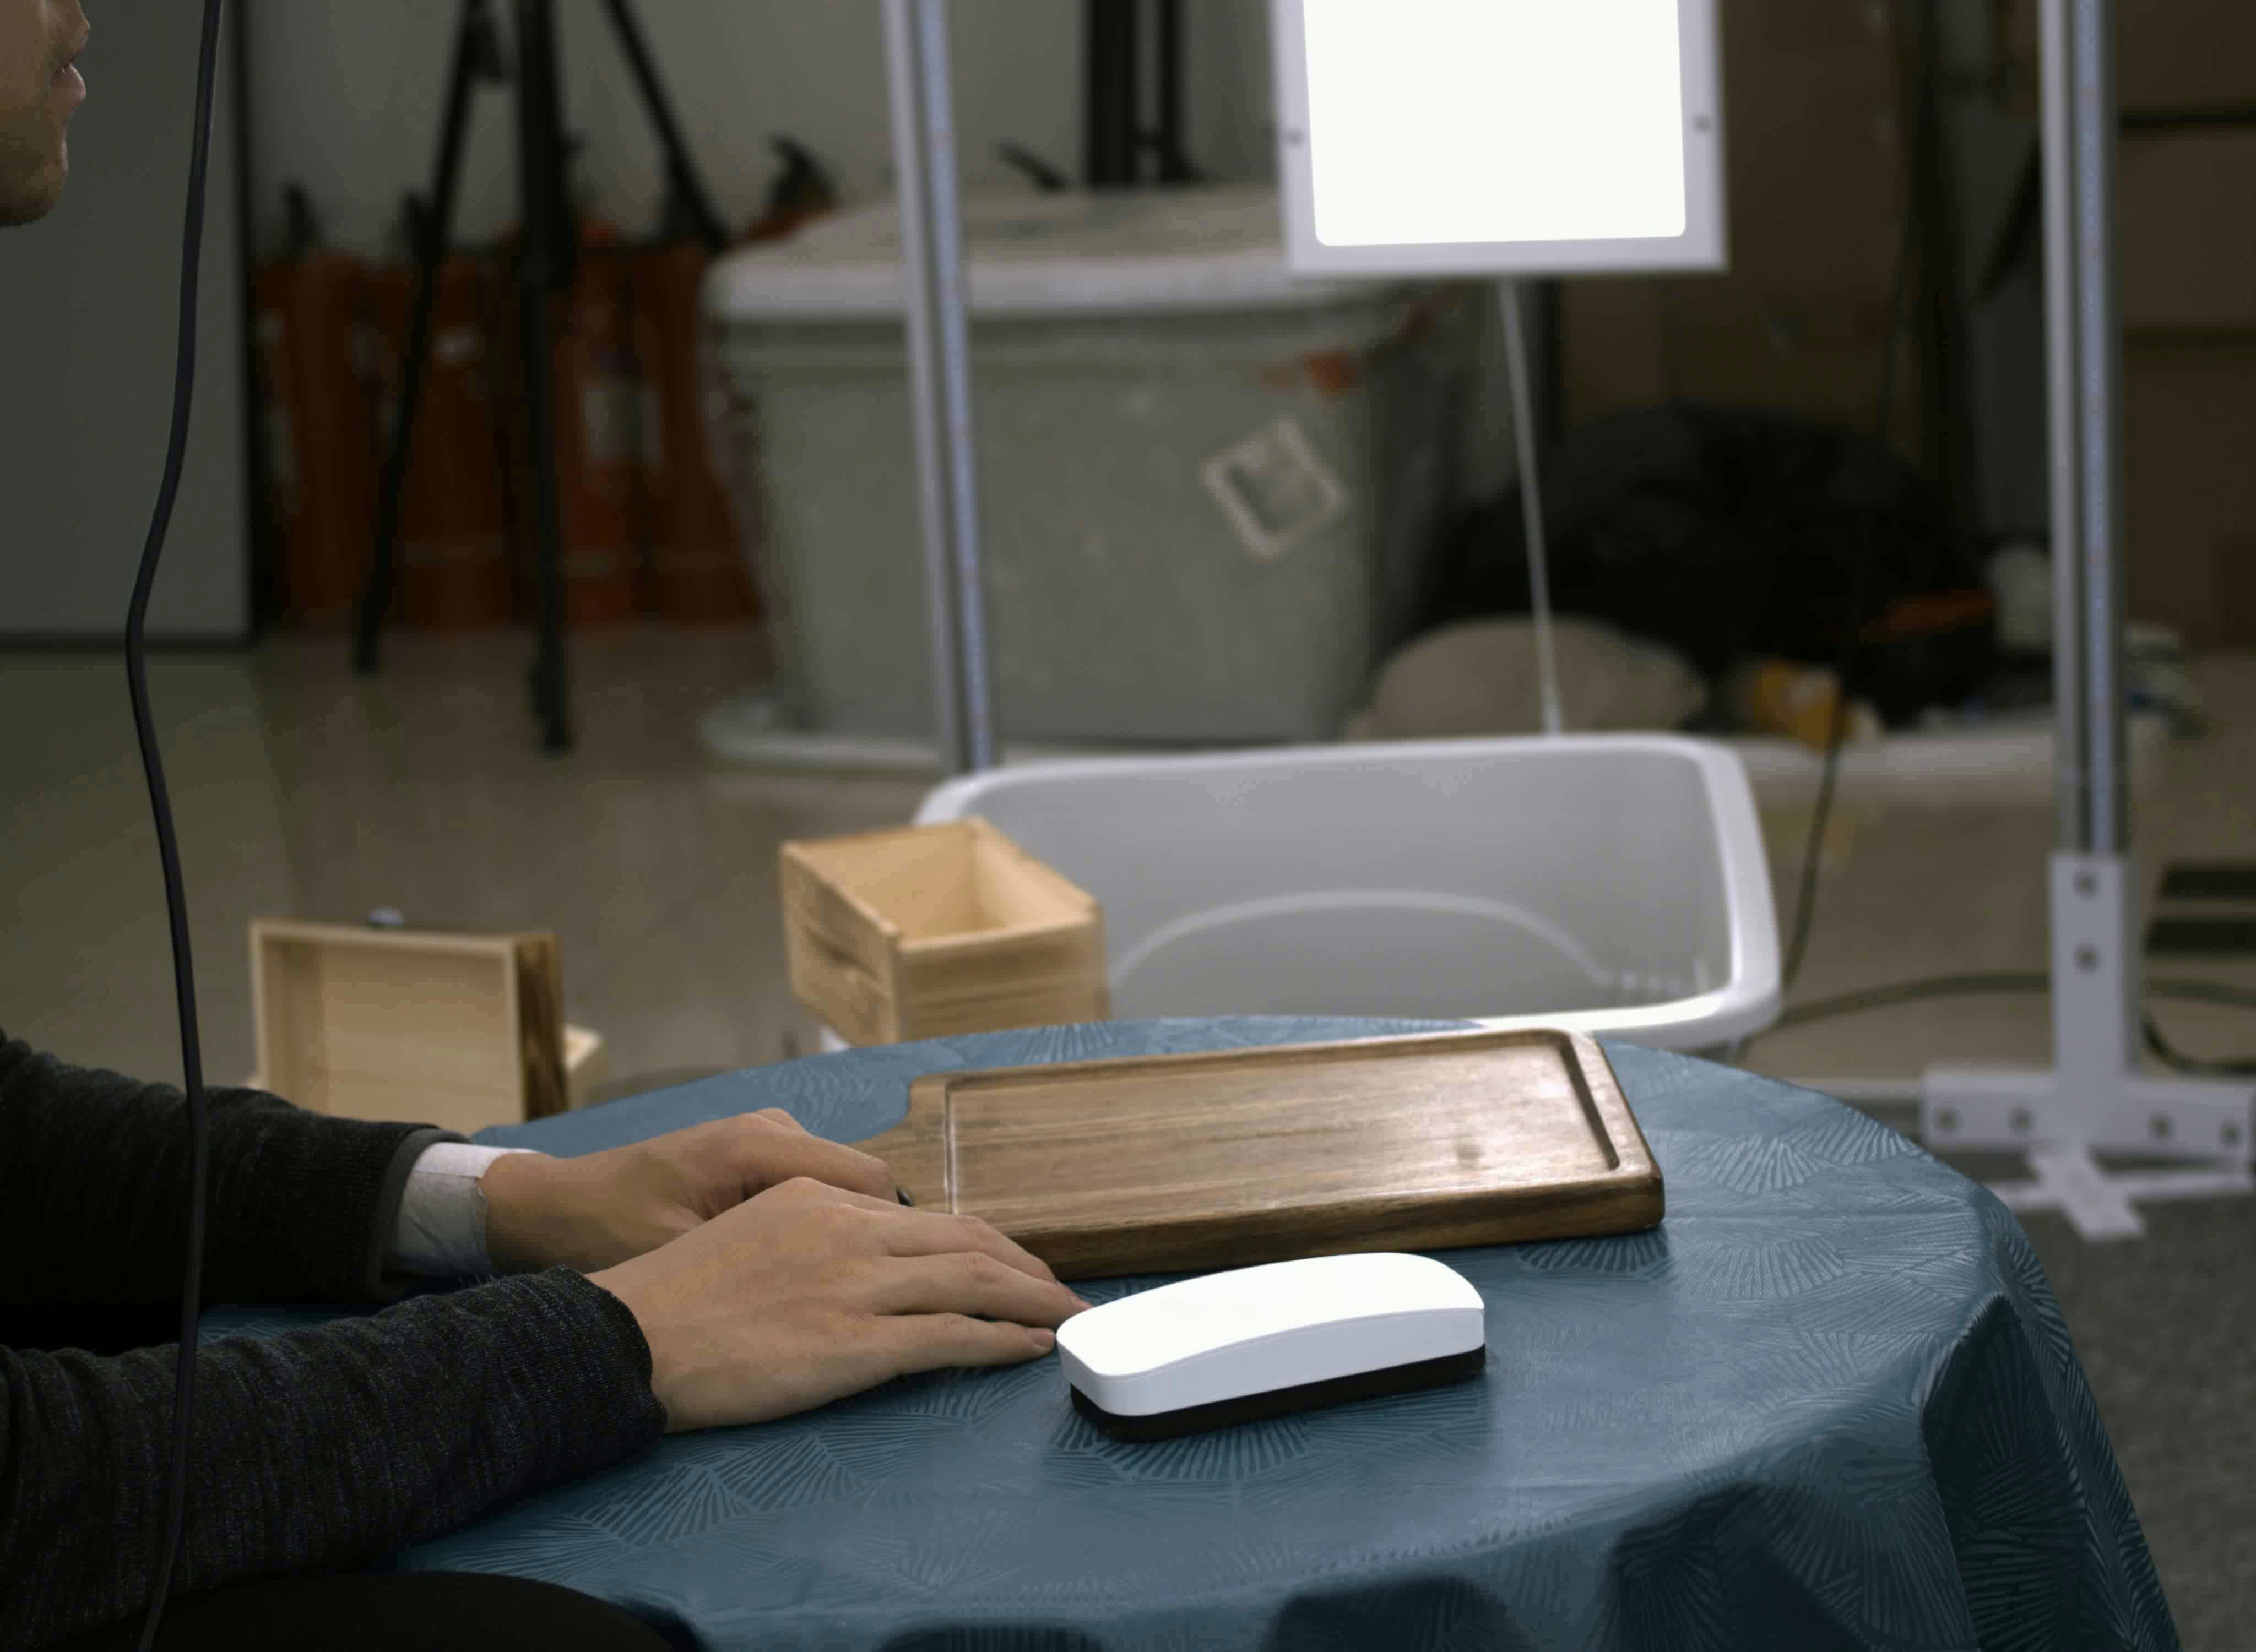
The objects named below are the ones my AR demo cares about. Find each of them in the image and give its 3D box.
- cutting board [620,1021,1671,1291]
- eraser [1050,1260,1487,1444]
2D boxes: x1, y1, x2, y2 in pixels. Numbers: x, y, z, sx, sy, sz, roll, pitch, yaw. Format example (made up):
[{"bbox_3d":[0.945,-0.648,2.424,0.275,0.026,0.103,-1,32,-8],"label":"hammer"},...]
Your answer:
[{"bbox_3d":[0.000,0.115,1.900,0.351,0.023,0.201,-5,14,0],"label":"cutting board"},{"bbox_3d":[0.043,0.158,1.691,0.129,0.034,0.064,-8,15,-16],"label":"eraser"}]
